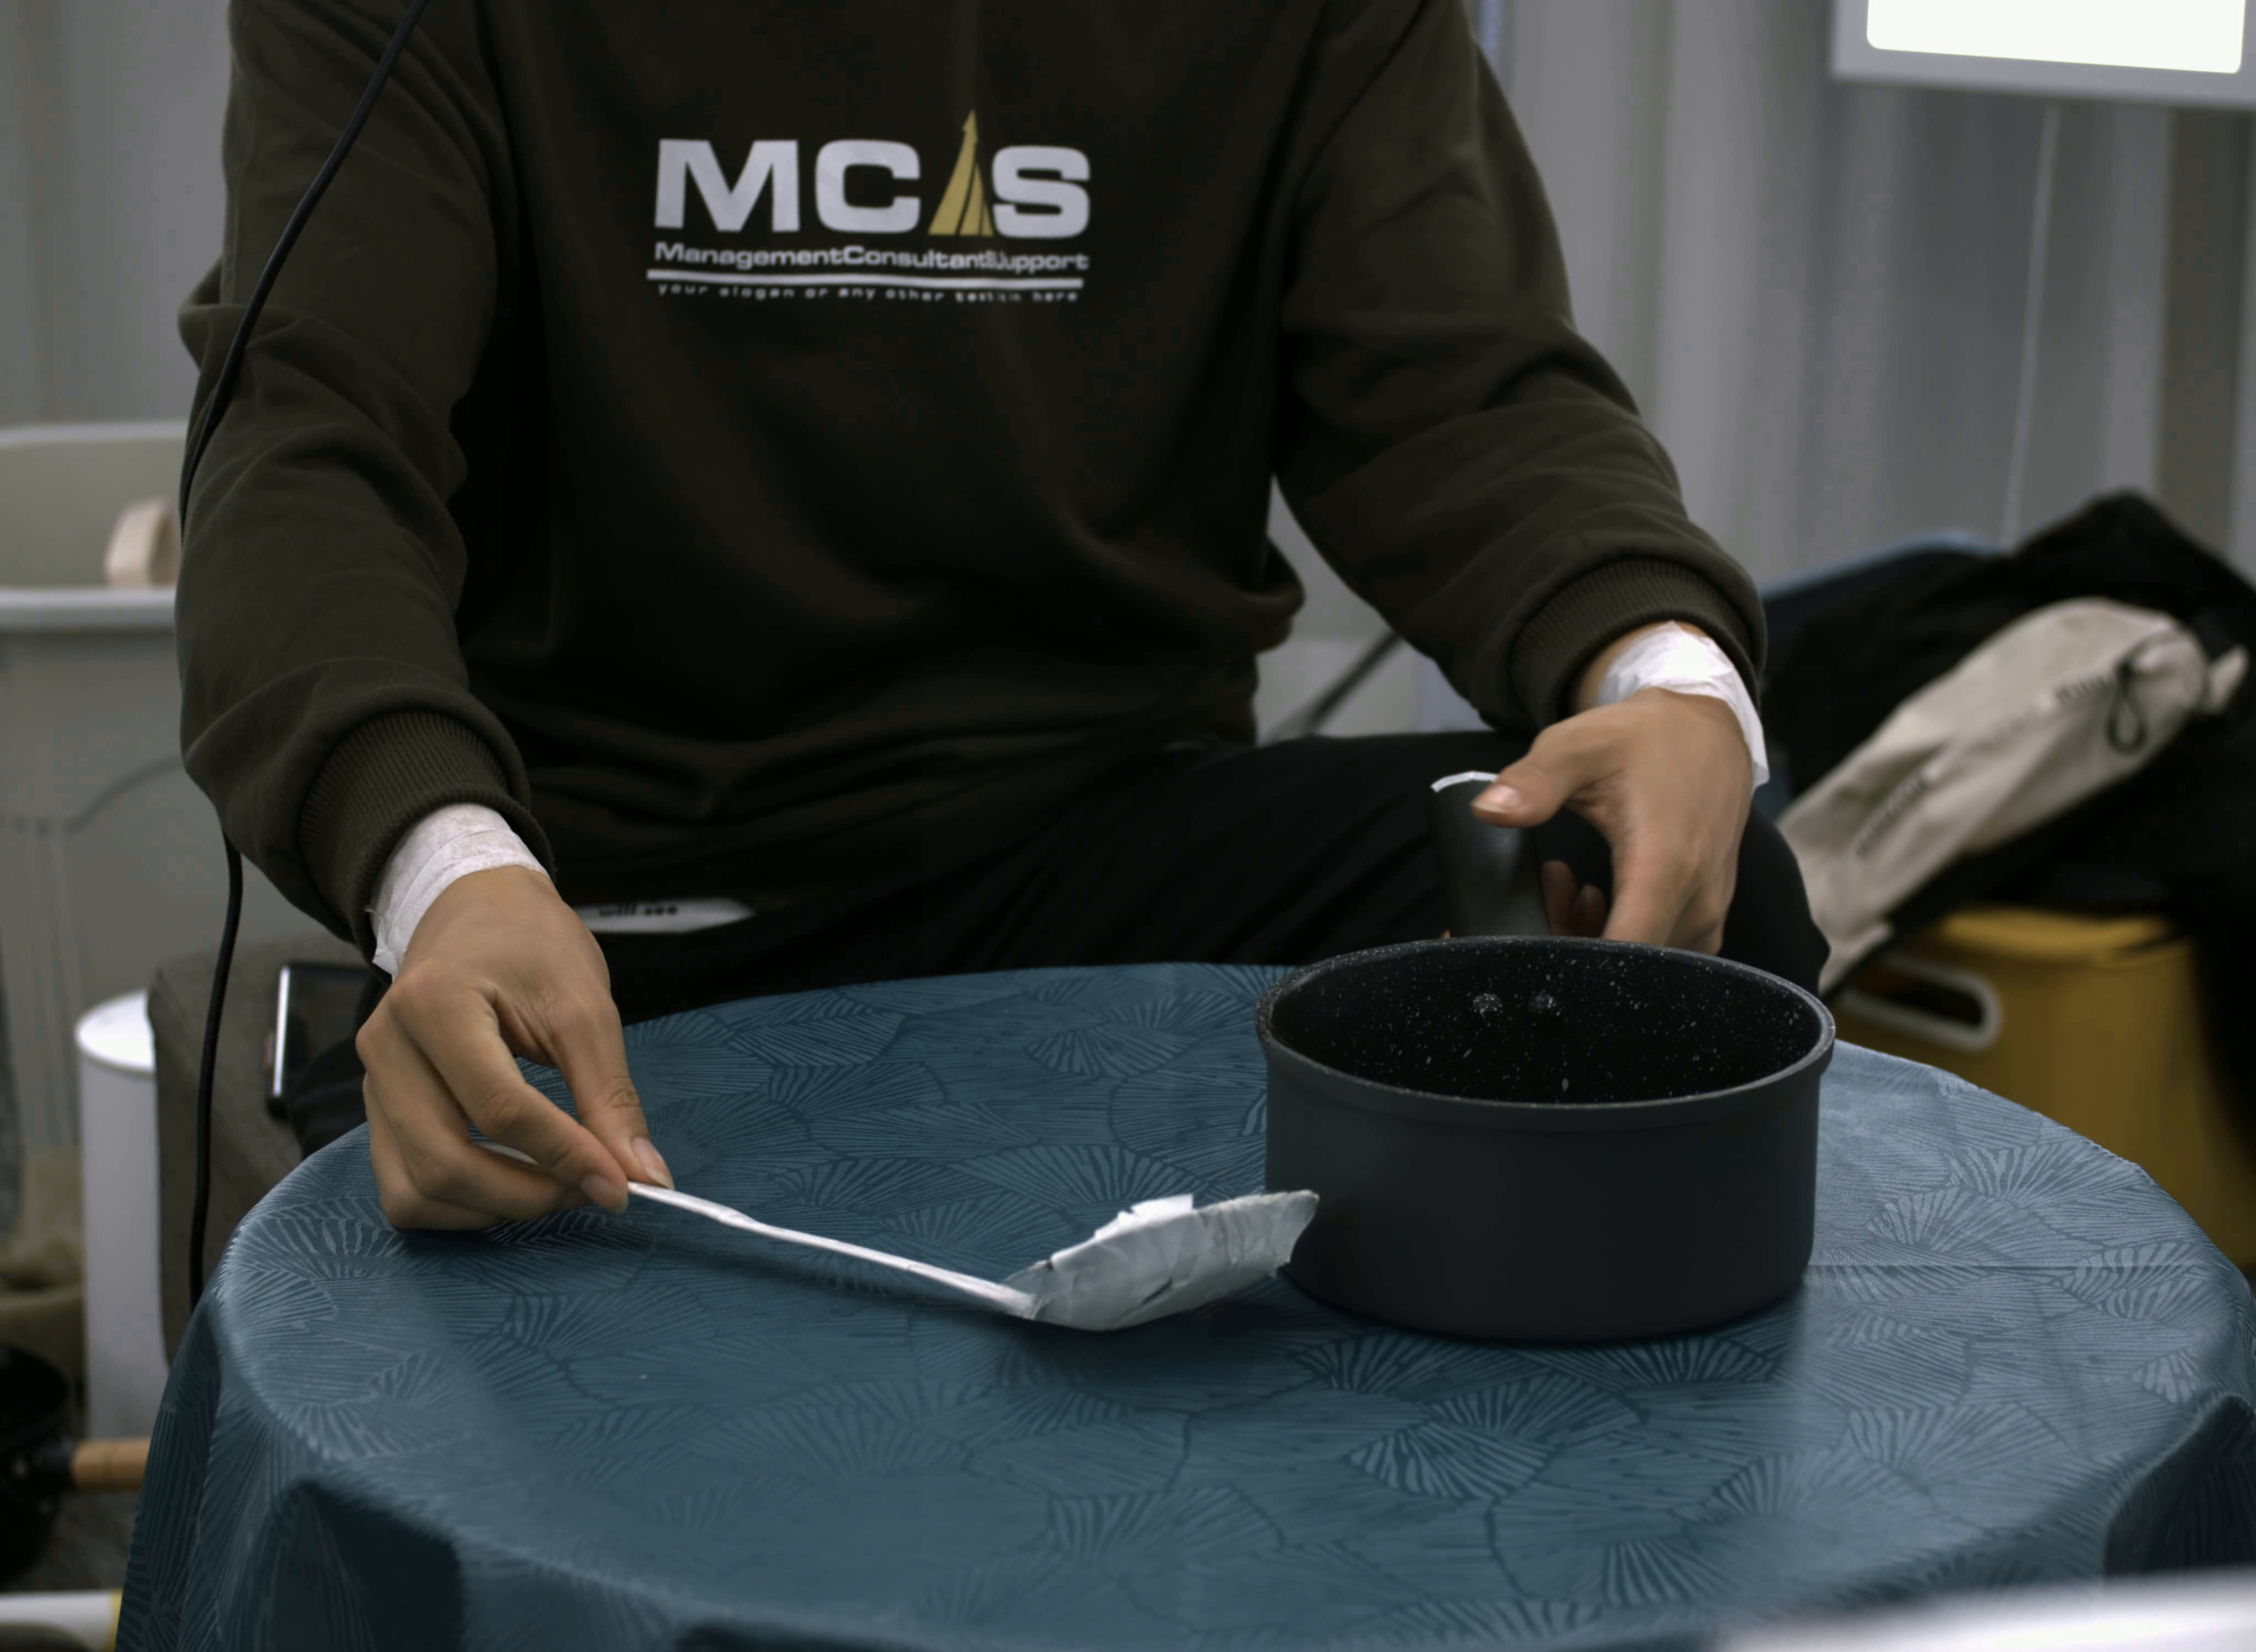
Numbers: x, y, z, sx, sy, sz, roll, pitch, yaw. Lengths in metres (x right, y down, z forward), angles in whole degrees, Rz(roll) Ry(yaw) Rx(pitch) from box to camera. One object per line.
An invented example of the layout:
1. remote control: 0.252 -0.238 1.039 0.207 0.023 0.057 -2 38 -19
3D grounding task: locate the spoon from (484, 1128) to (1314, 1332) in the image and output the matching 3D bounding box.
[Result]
1. spoon: -0.072 0.100 1.543 0.274 0.059 0.101 14 1 30

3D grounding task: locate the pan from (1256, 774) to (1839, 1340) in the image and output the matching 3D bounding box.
1. pan: 0.125 0.068 1.635 0.171 0.087 0.327 2 16 1
